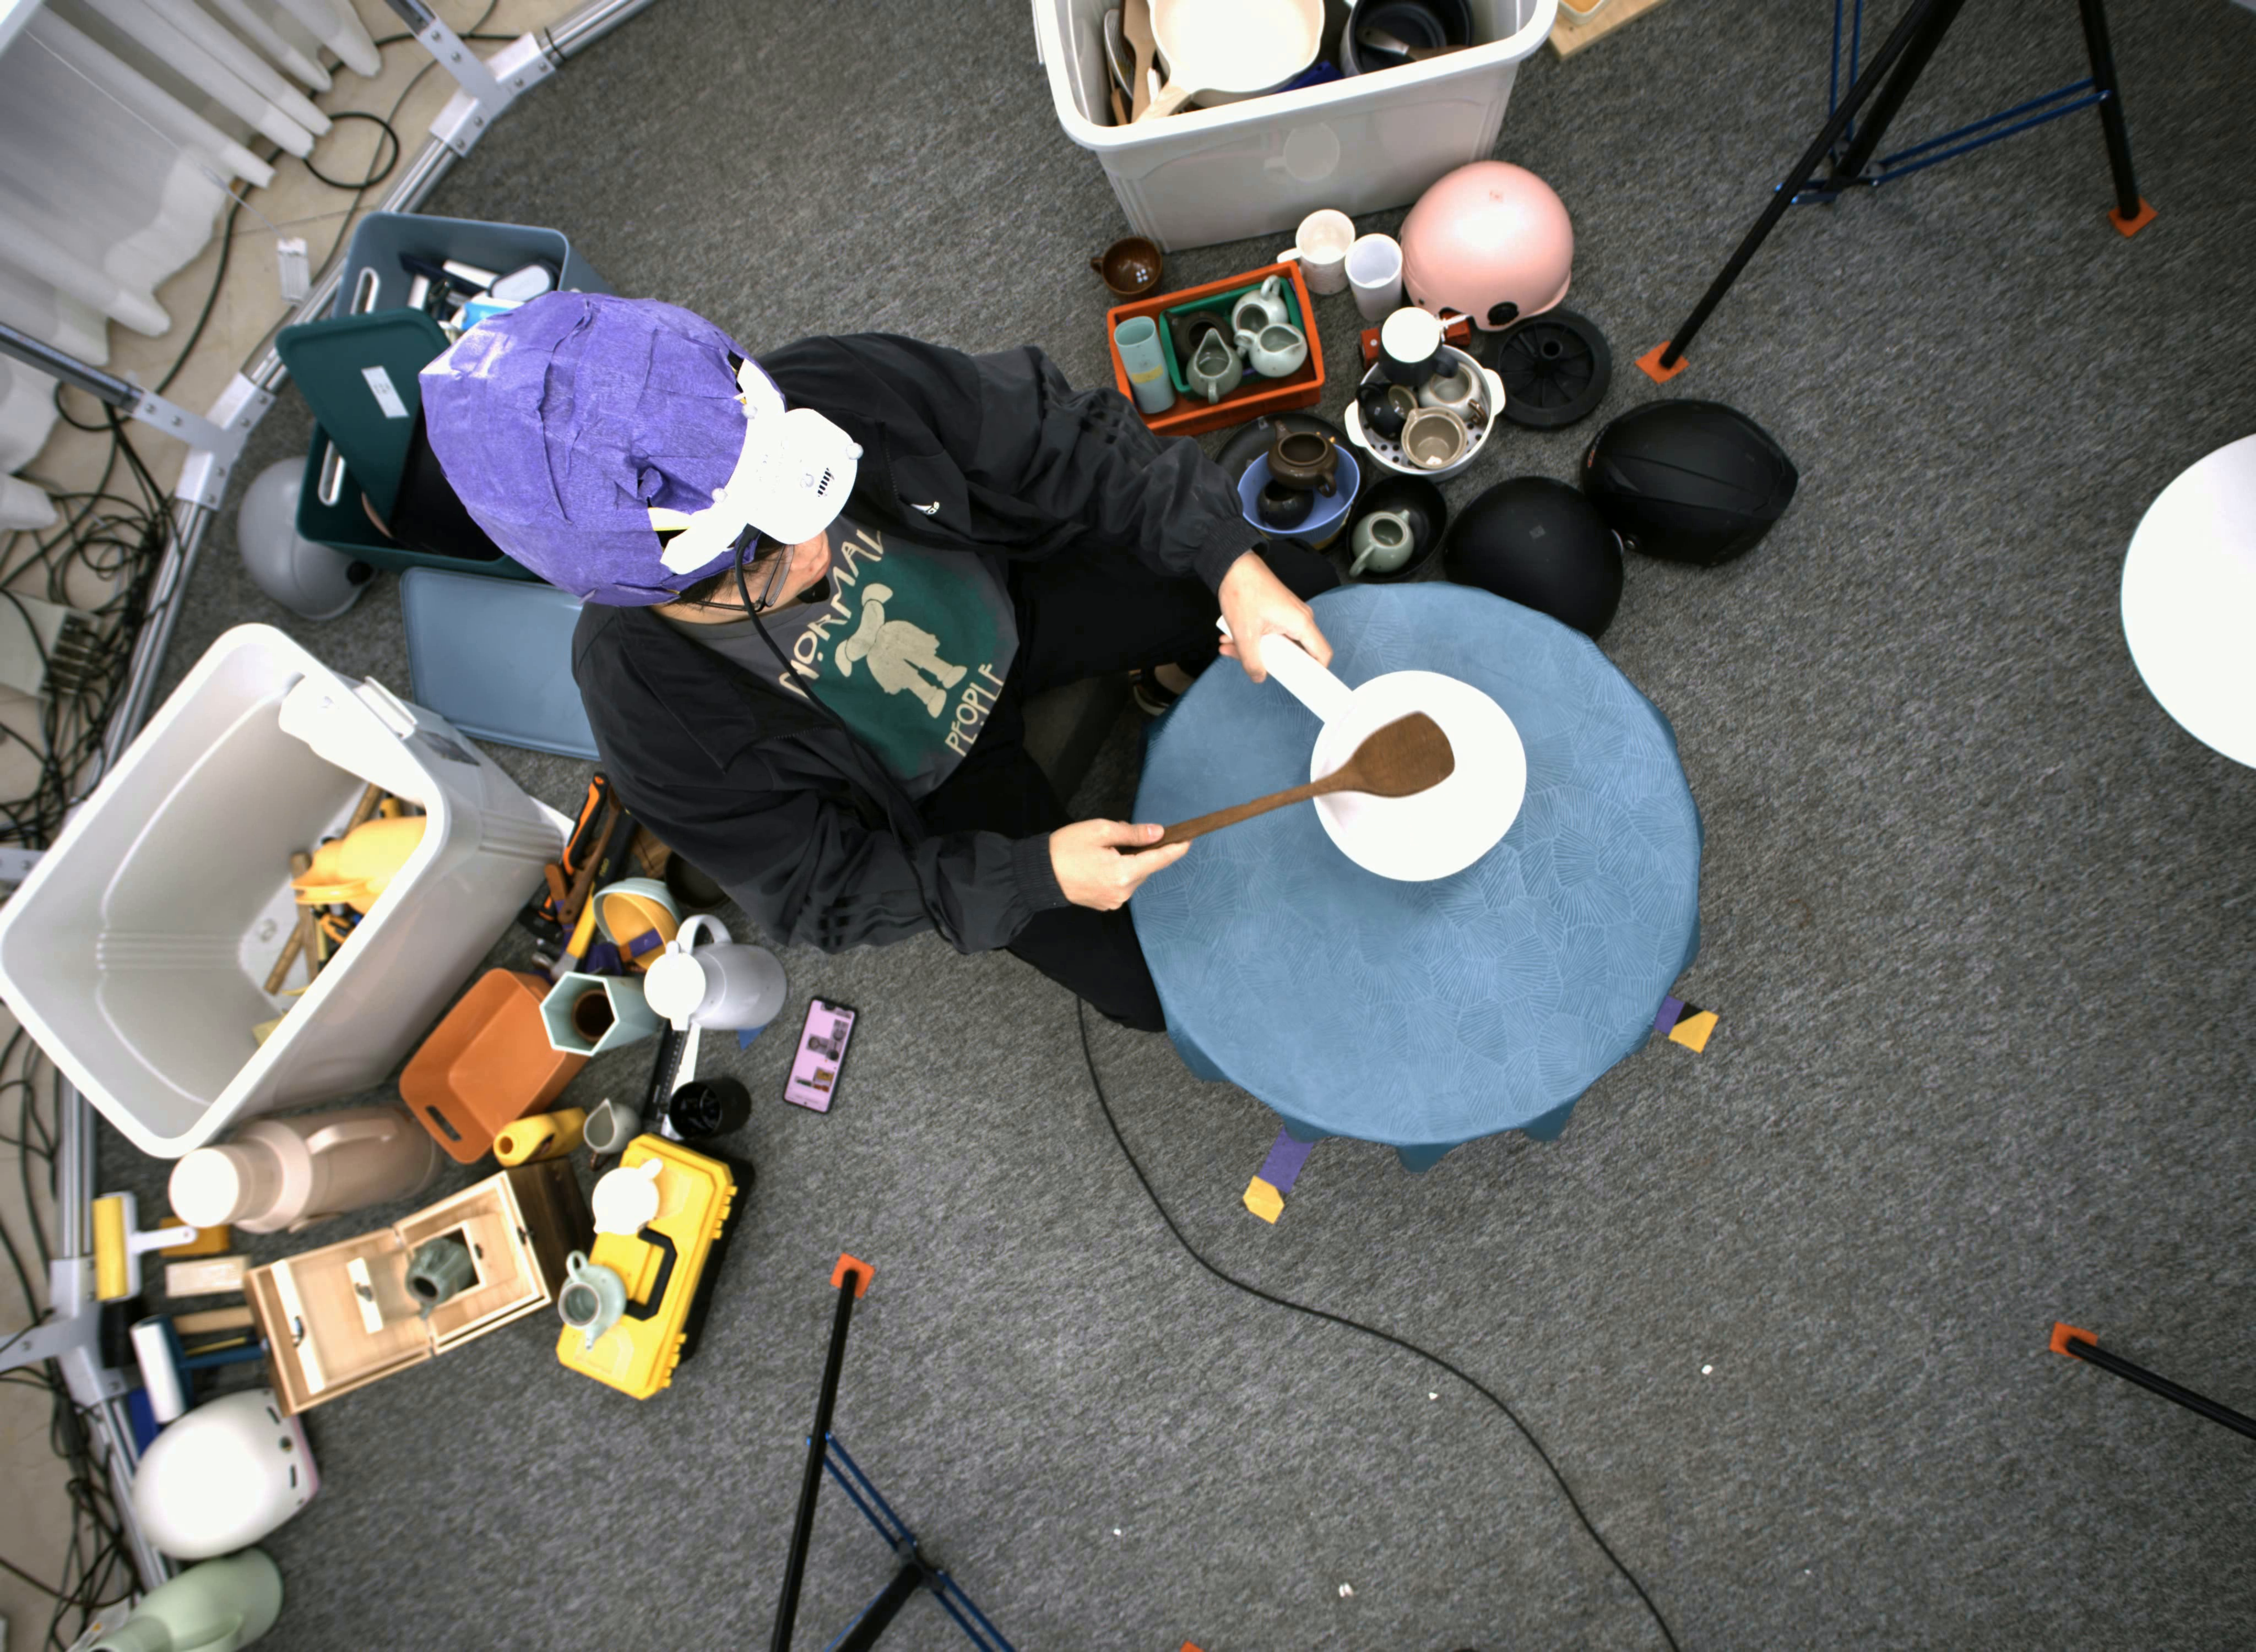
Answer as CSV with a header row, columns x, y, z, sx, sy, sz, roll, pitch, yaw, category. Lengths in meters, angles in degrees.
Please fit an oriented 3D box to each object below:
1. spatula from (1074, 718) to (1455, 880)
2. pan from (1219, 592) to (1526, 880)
x,y,z,sx,sy,sz,roll,pitch,yaw,category
0.129,-0.017,1.349,0.387,0.016,0.094,-19,48,5,spatula
0.239,-0.105,1.379,0.352,0.101,0.205,45,115,16,pan
